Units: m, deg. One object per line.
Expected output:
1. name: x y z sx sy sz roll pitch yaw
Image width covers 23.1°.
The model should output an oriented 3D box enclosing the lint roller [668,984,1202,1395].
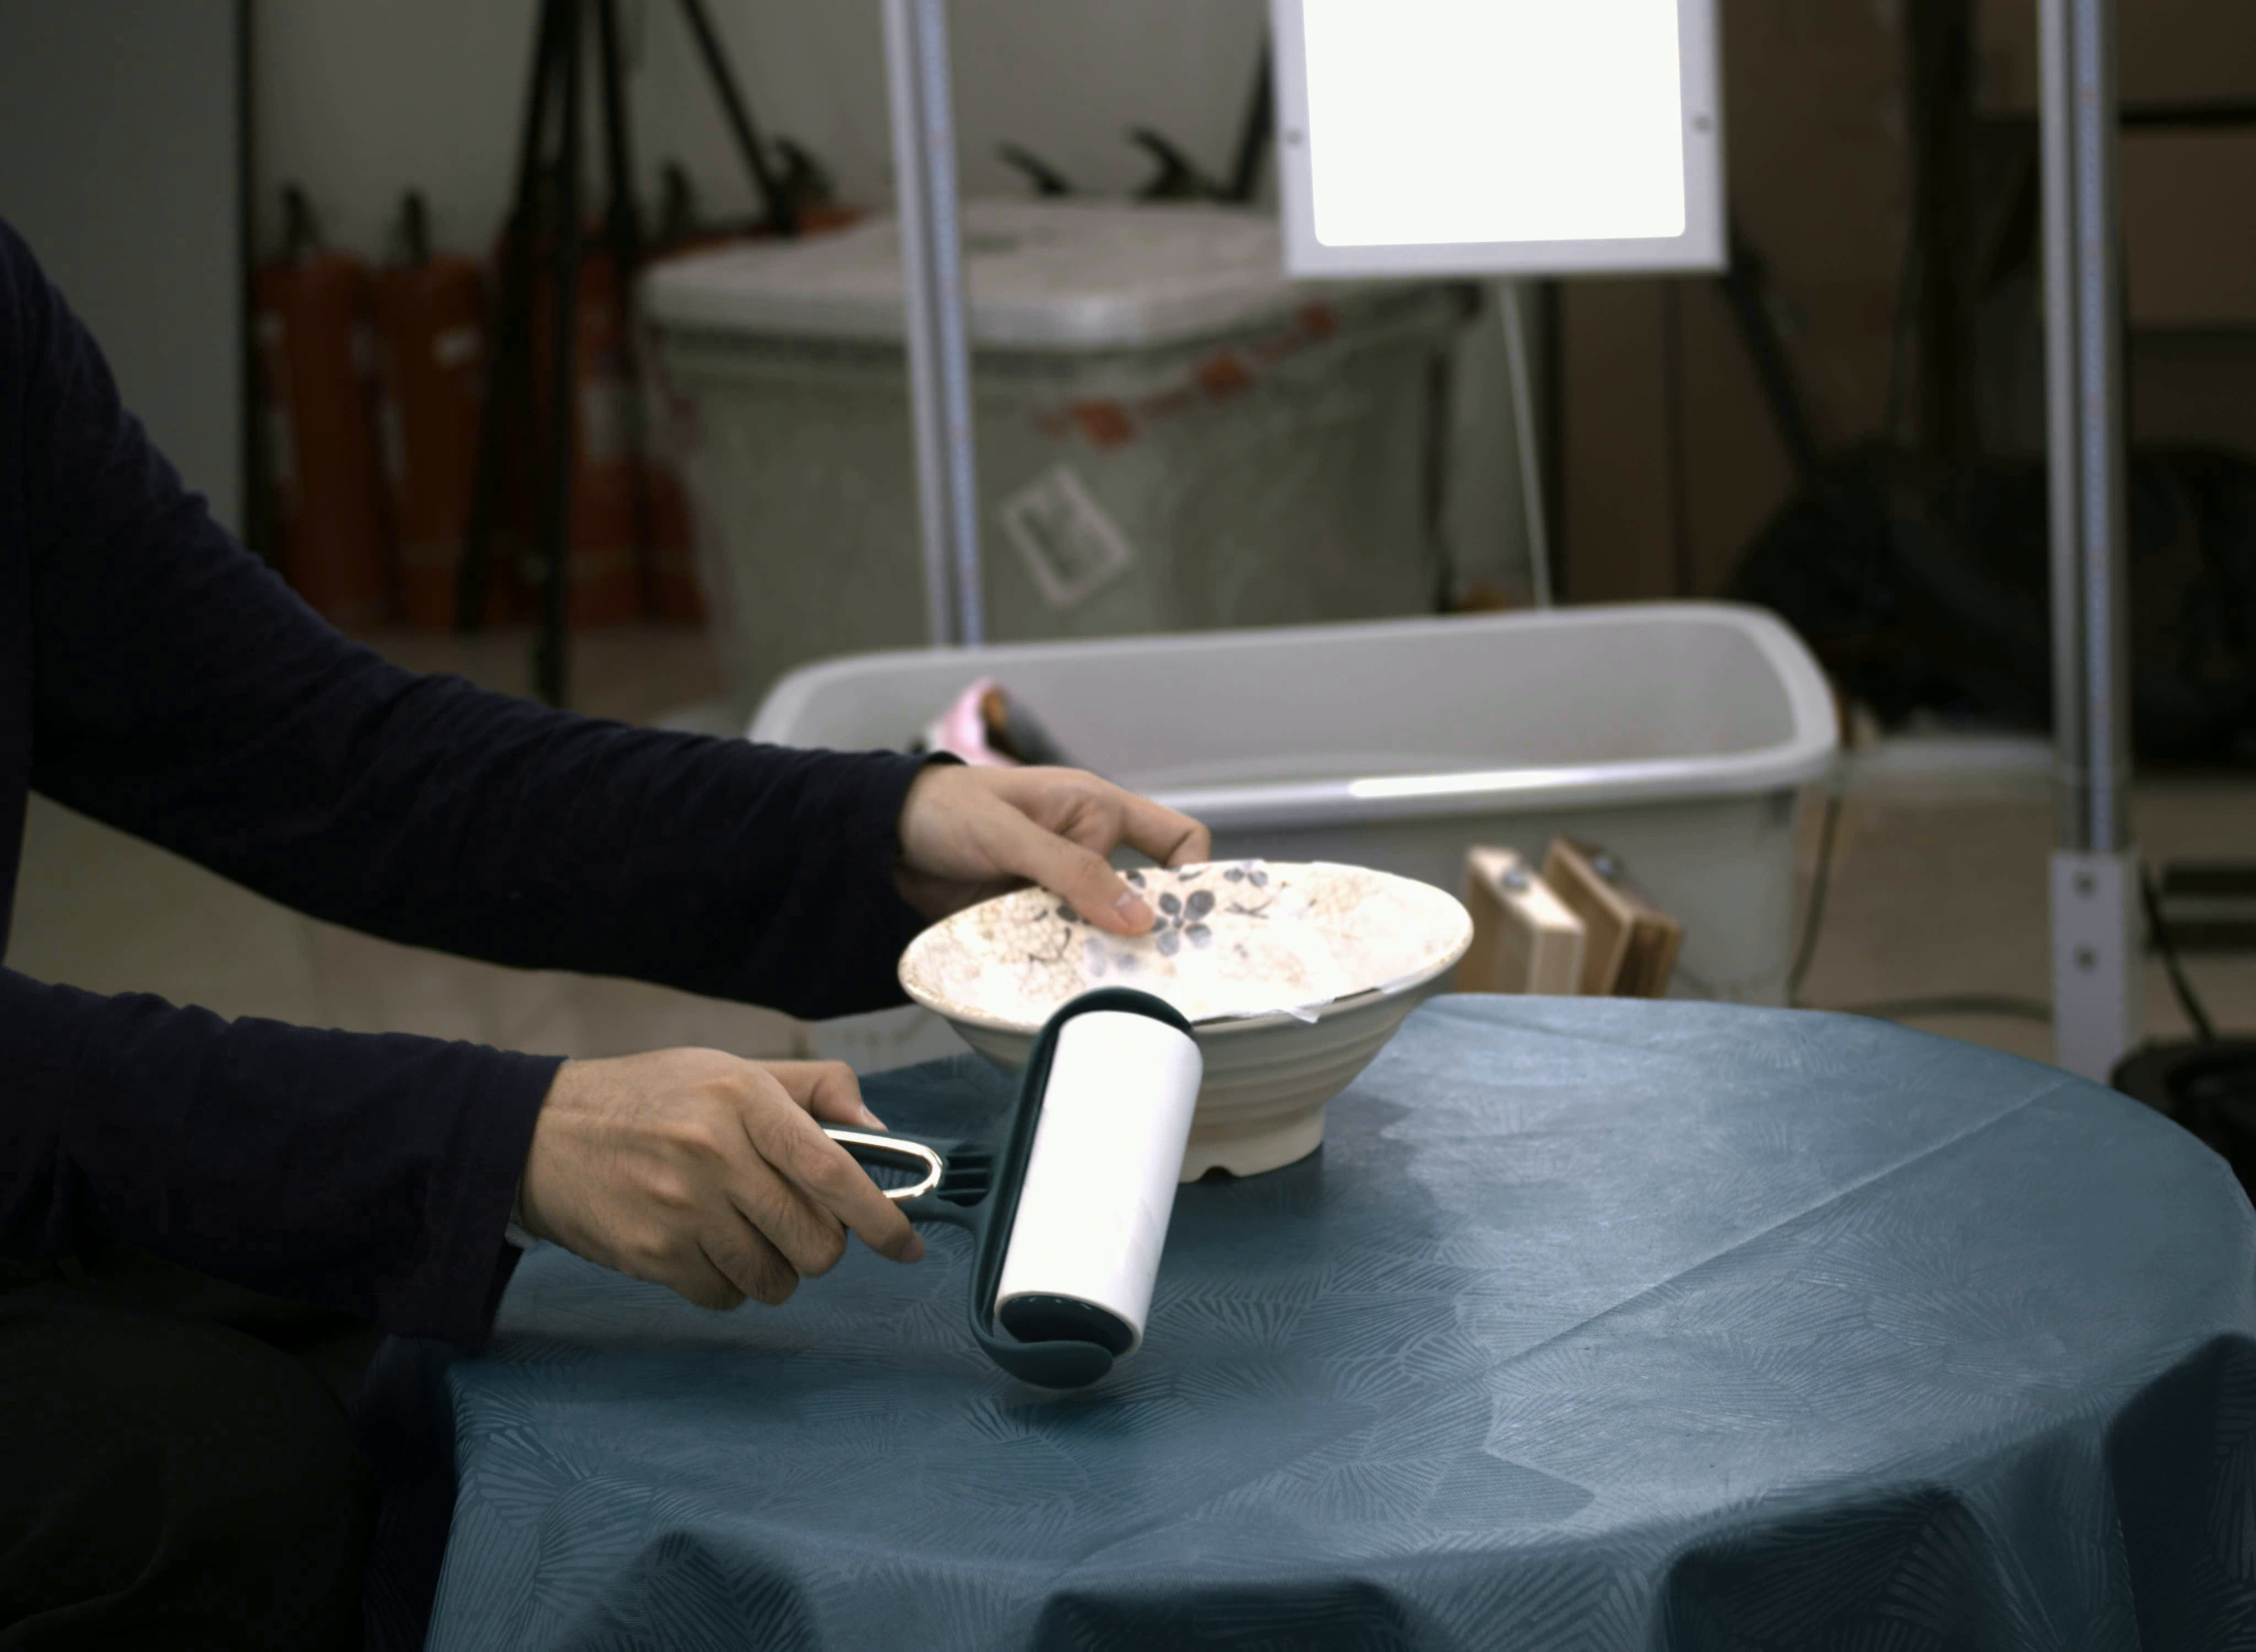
1. lint roller: -0.071 0.112 1.747 0.183 0.048 0.133 1 58 22

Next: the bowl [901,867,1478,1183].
1. bowl: 0.025 0.076 1.935 0.203 0.078 0.204 -5 14 0
